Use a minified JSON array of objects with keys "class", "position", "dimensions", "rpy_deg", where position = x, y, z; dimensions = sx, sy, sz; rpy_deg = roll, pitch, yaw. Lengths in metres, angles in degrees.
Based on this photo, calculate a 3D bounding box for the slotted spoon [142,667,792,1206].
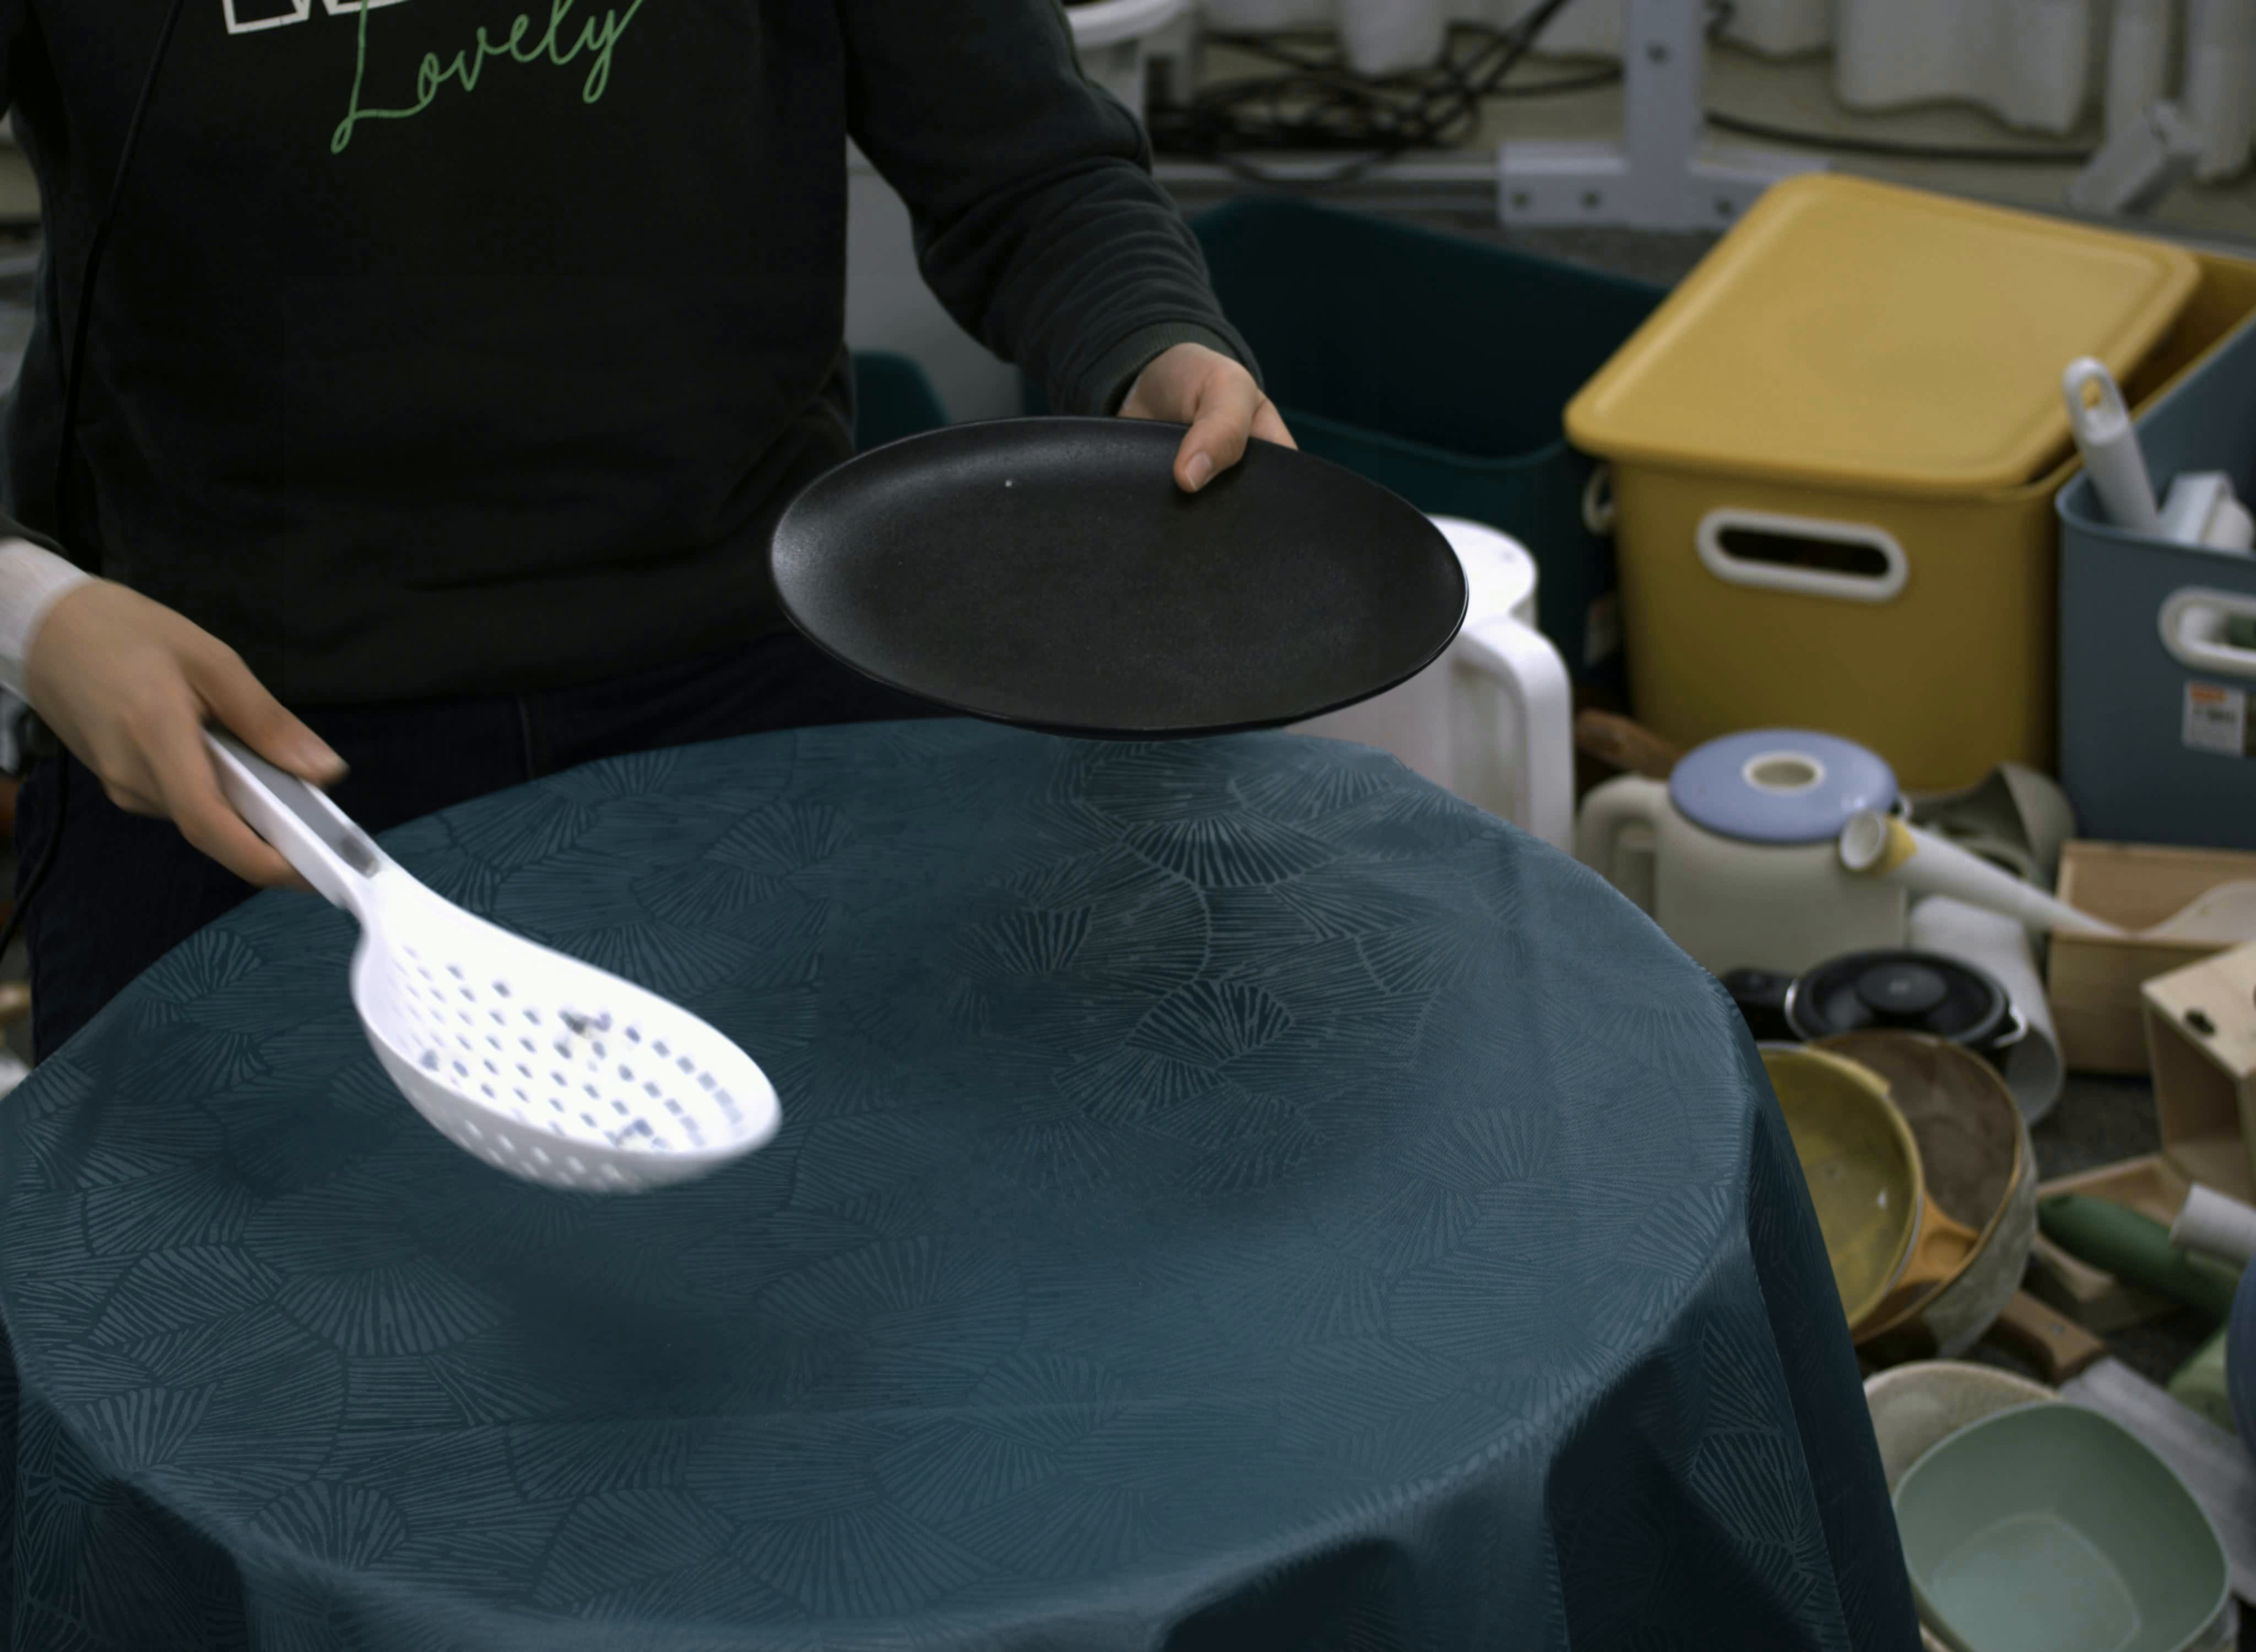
[{"class":"slotted spoon","position":[-0.231,0.031,1.811],"dimensions":[0.136,0.045,0.352],"rpy_deg":[7,27,-42]}]

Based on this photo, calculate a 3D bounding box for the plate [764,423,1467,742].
[{"class":"plate","position":[-0.005,-0.080,1.939],"dimensions":[0.243,0.023,0.248],"rpy_deg":[3,28,-1]}]
